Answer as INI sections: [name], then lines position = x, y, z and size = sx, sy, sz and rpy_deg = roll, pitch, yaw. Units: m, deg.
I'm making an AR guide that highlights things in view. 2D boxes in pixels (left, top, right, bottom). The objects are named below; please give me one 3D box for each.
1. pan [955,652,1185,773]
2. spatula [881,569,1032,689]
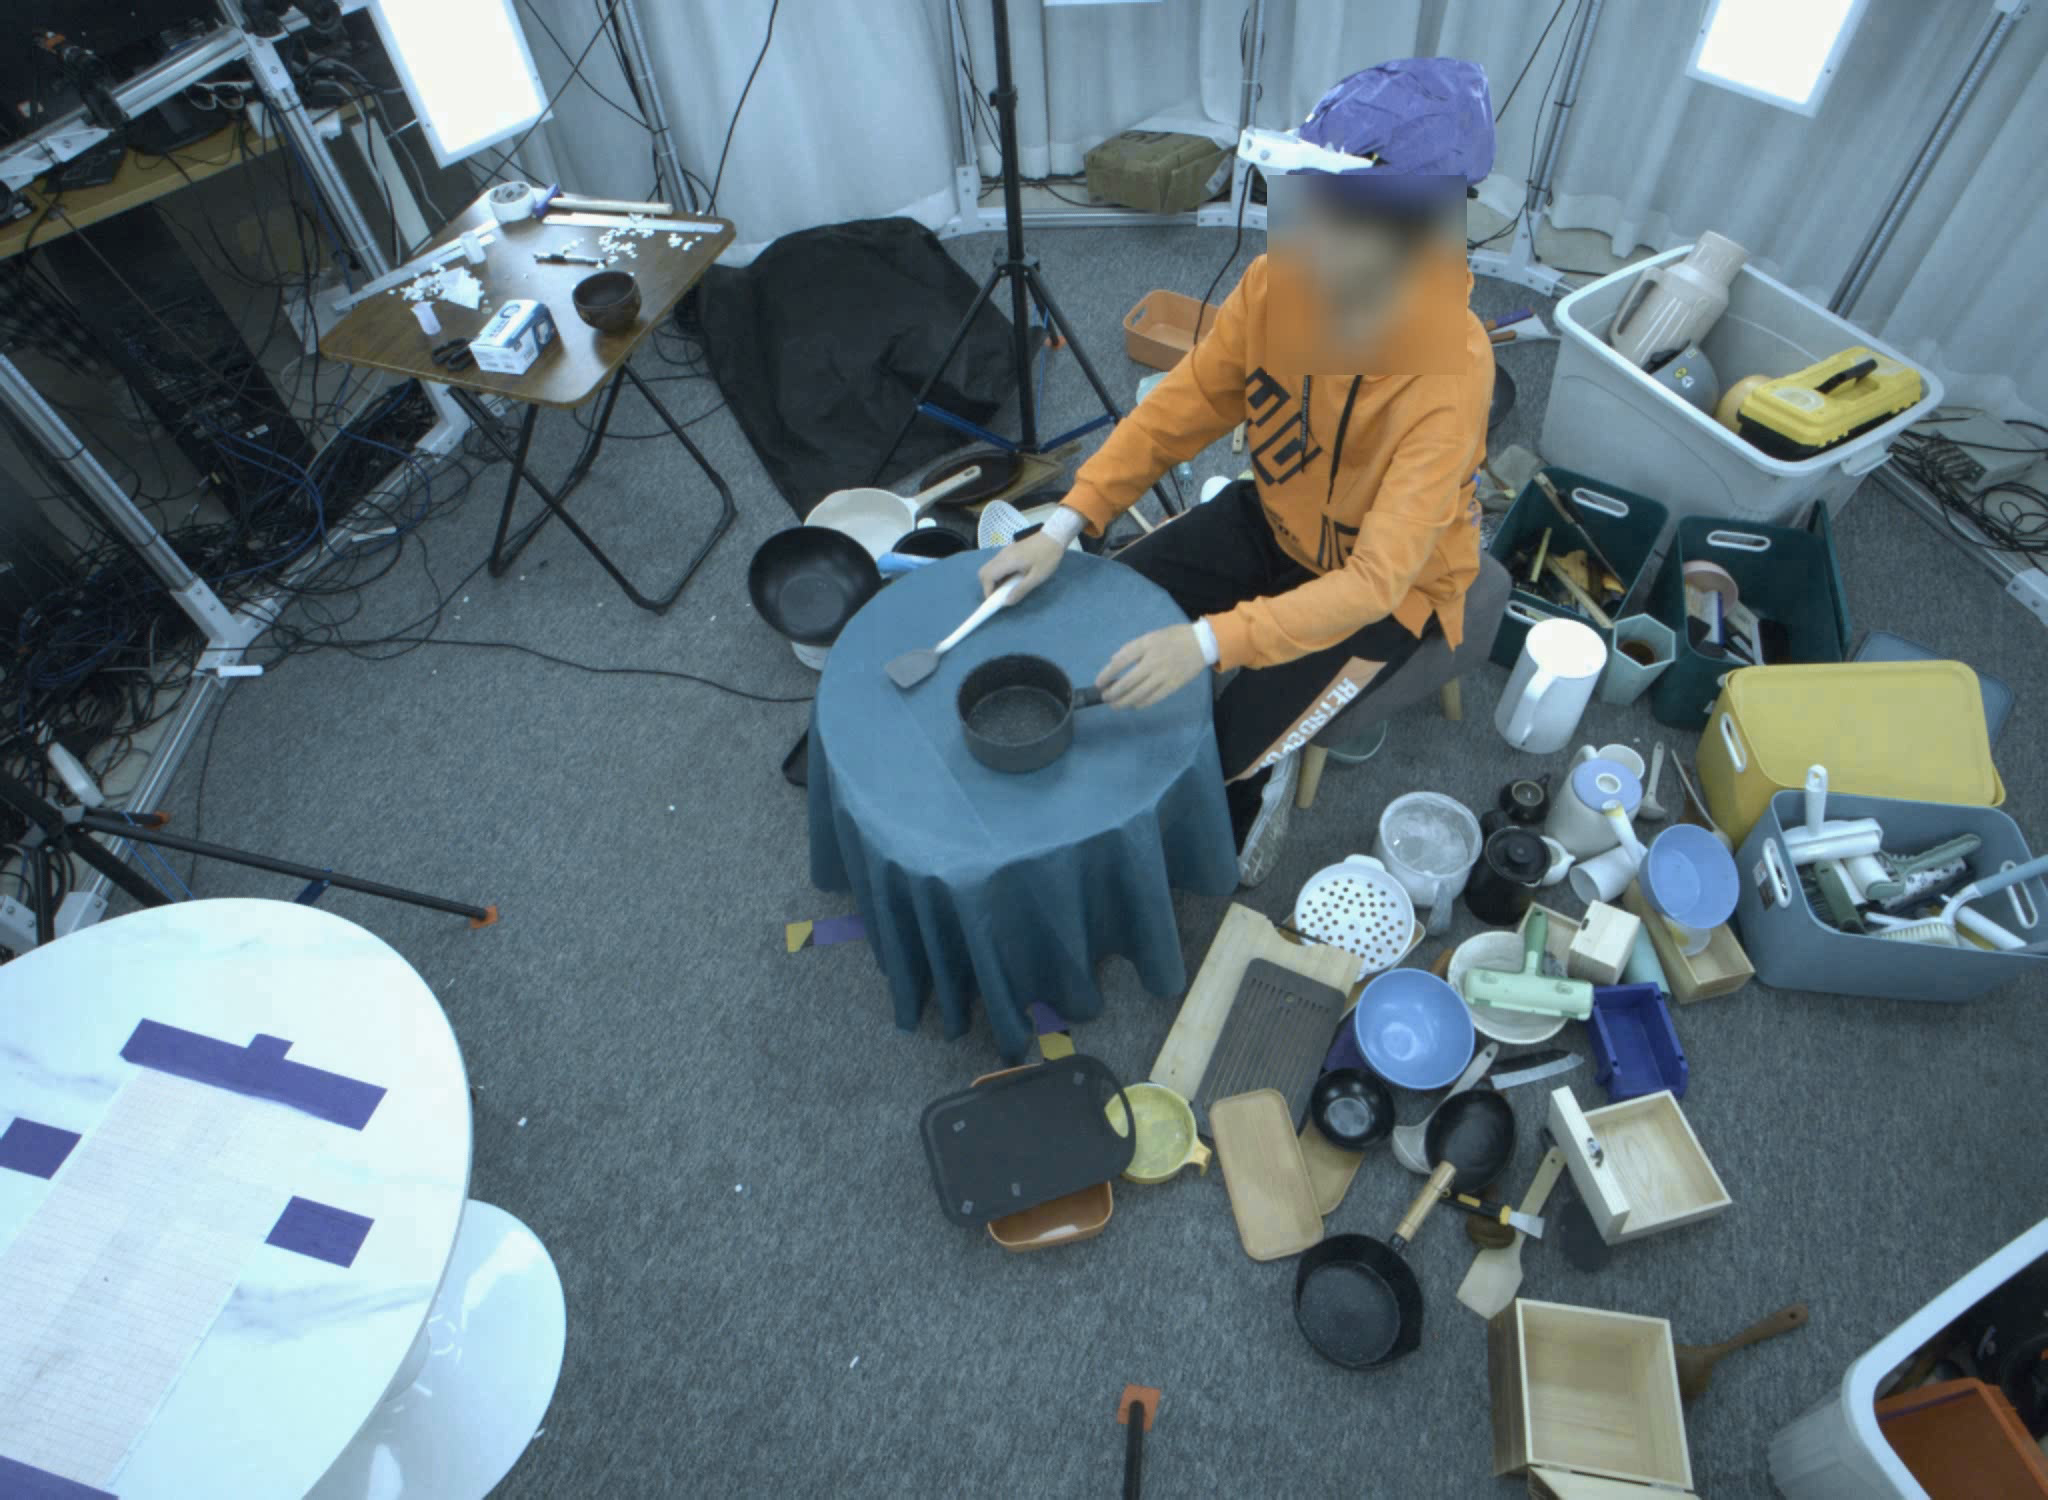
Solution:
[pan]
position = 0.068, -0.063, 1.778
size = 0.329, 0.087, 0.170
rpy_deg = -7, 56, 0
[spatula]
position = -0.099, -0.188, 1.901
size = 0.289, 0.032, 0.058
rpy_deg = -41, 77, -21
